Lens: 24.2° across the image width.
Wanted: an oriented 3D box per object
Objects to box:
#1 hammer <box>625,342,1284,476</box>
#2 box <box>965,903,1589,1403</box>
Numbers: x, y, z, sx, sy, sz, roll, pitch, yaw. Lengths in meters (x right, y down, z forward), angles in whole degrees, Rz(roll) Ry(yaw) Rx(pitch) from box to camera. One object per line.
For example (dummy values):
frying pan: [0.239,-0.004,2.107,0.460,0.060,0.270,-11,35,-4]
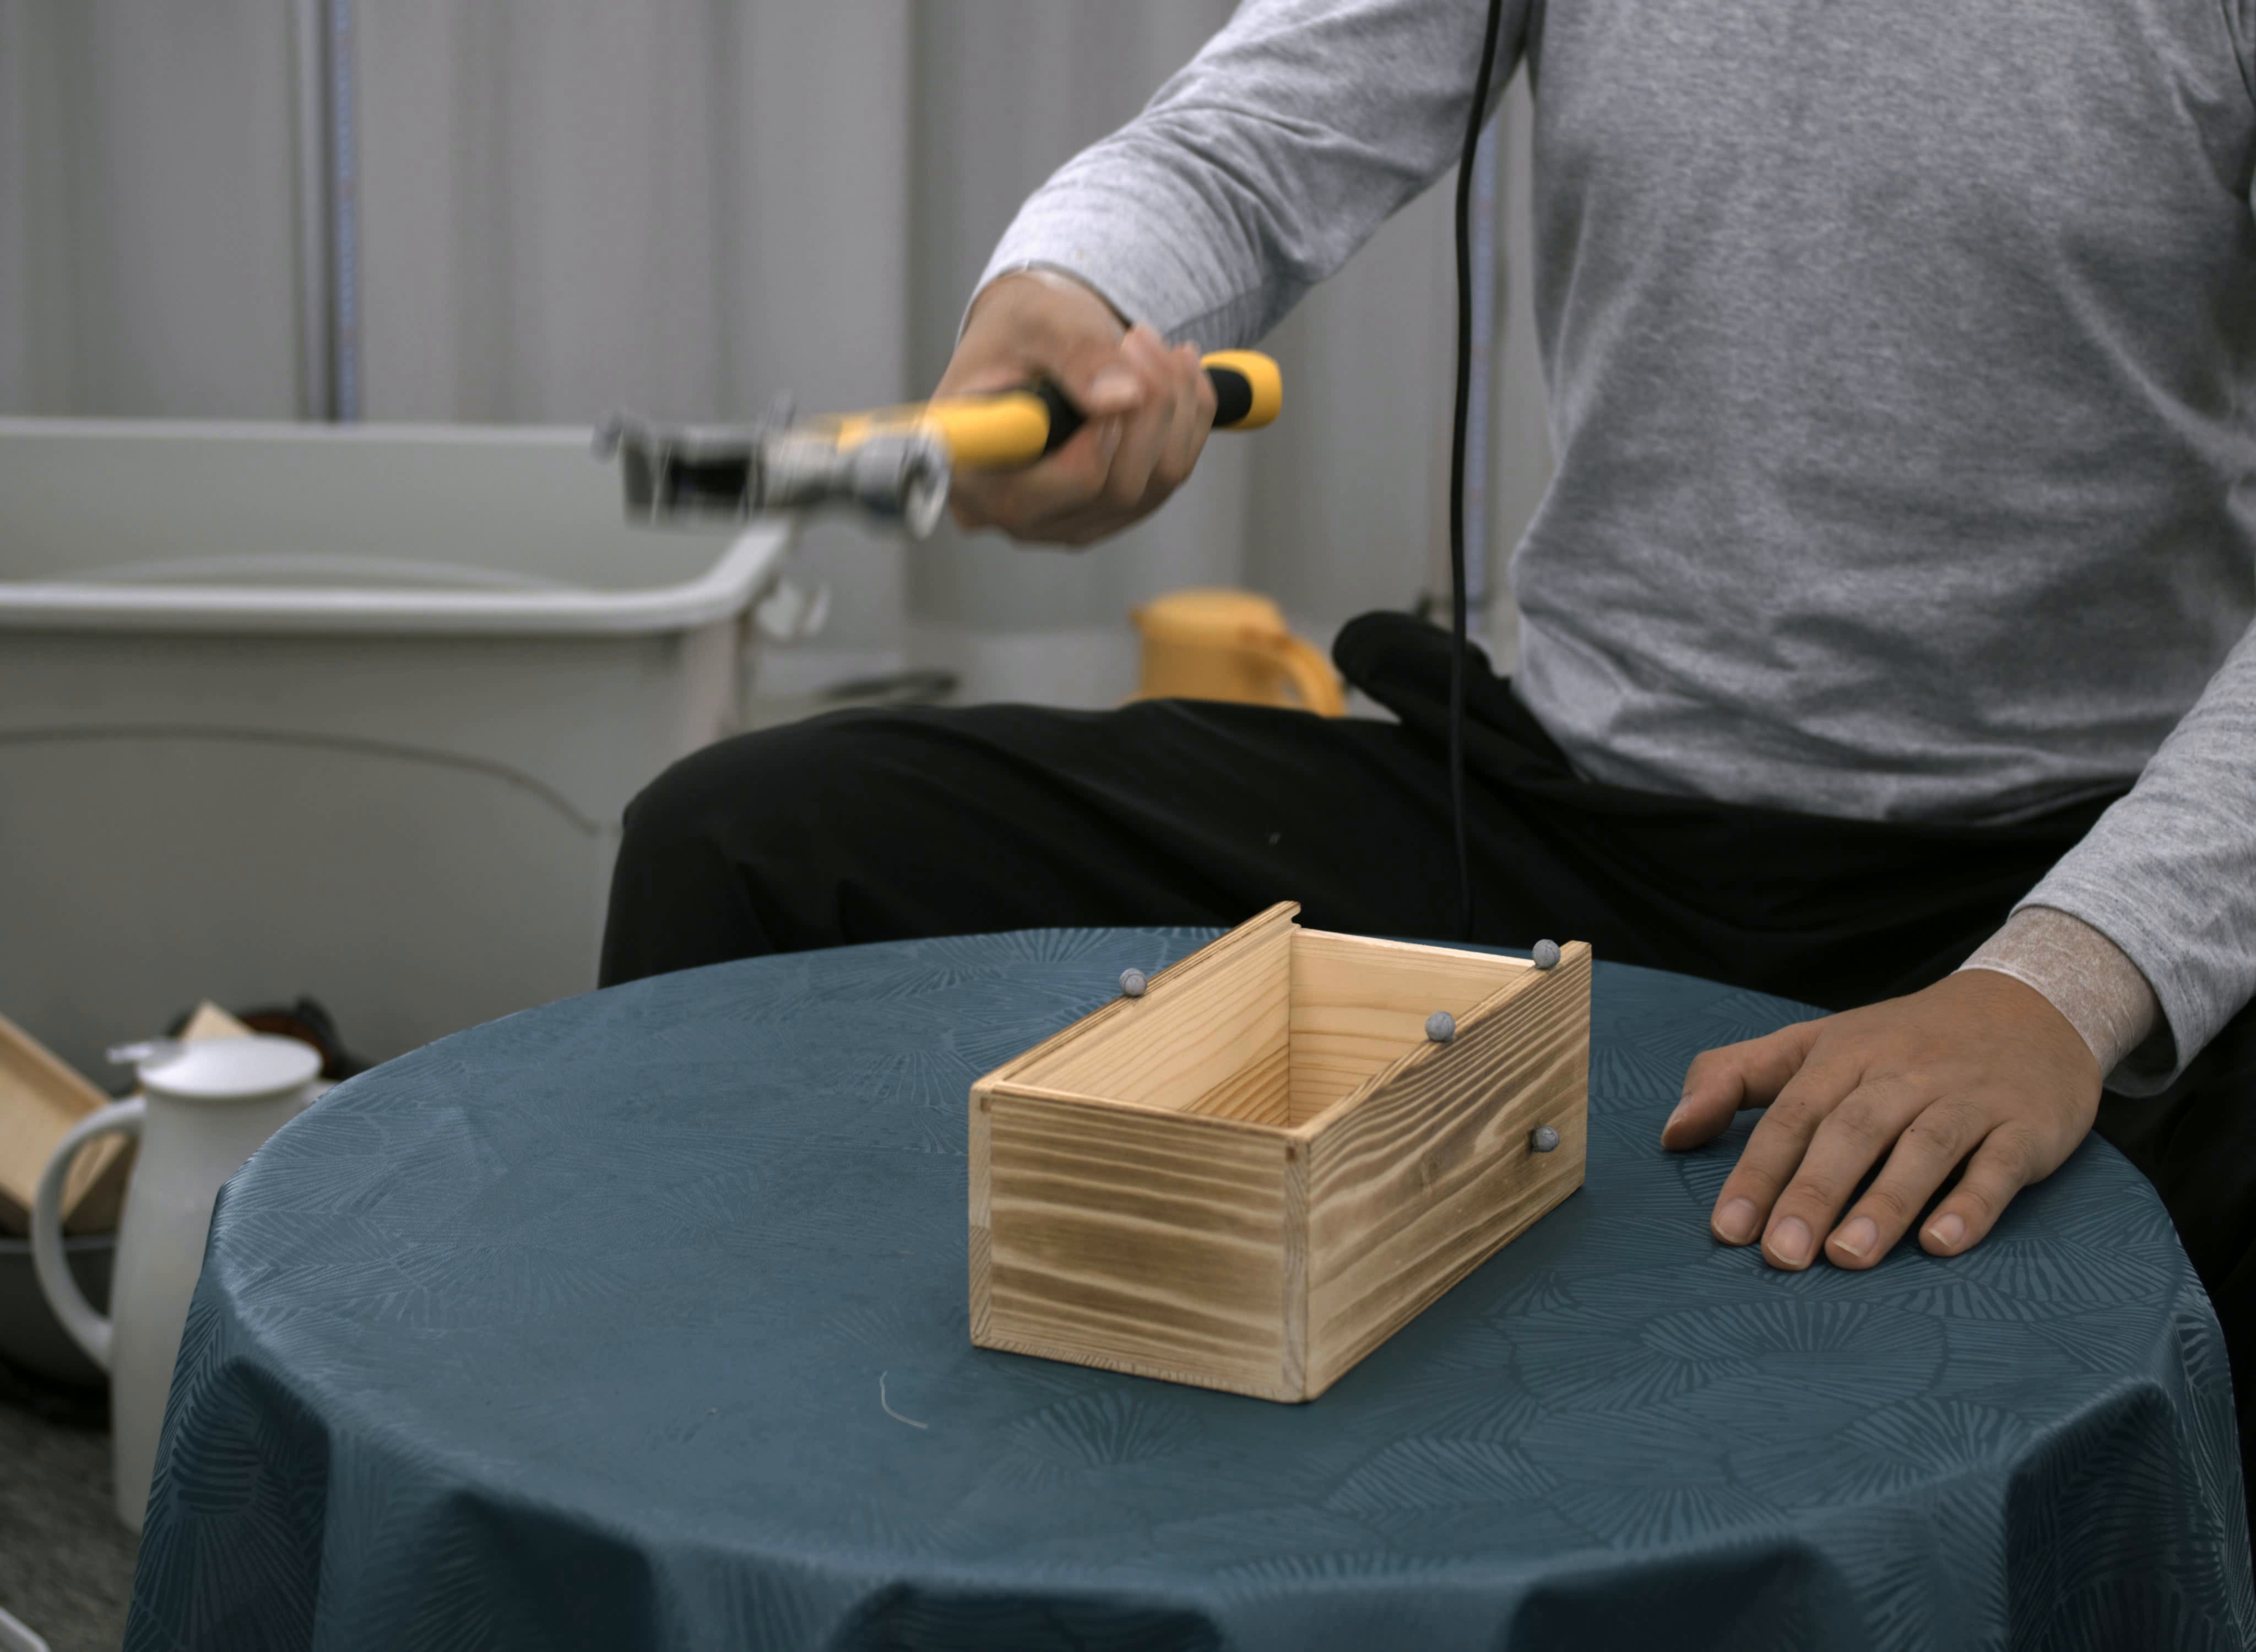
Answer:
hammer: [-0.040,-0.134,1.651,0.130,0.032,0.340,2,7,28]
box: [0.048,0.092,1.554,0.106,0.081,0.212,7,17,25]
